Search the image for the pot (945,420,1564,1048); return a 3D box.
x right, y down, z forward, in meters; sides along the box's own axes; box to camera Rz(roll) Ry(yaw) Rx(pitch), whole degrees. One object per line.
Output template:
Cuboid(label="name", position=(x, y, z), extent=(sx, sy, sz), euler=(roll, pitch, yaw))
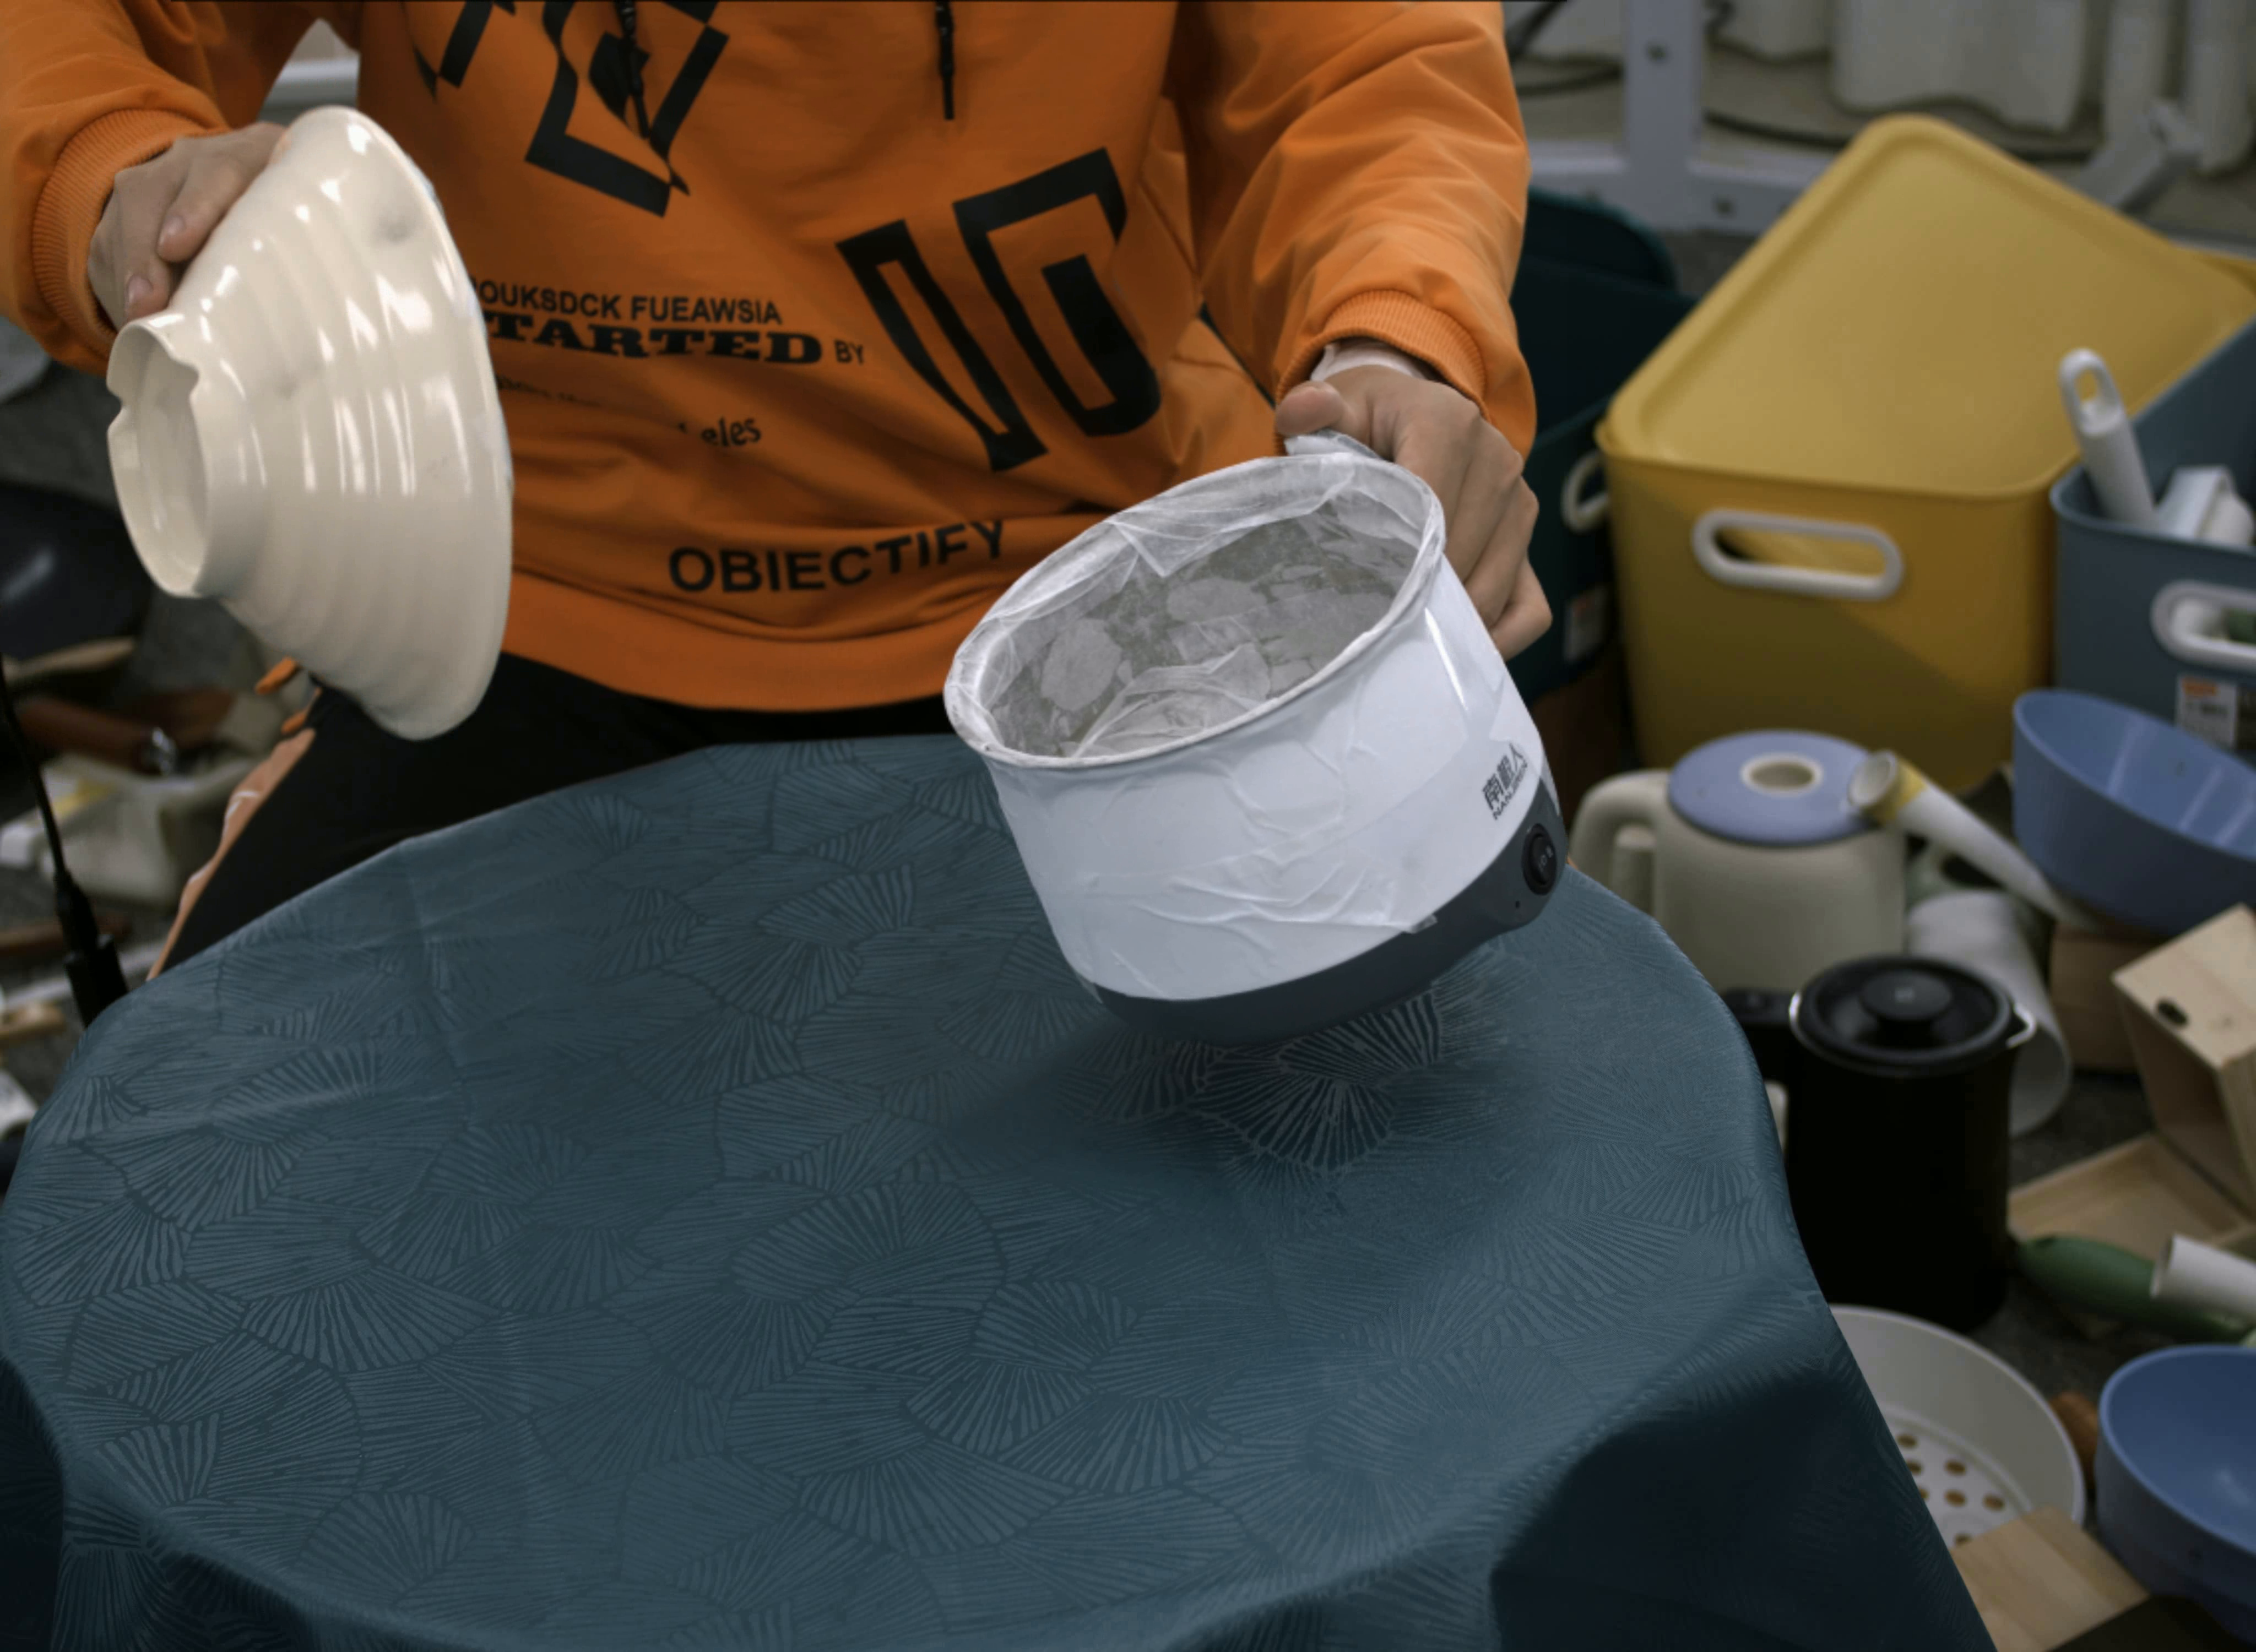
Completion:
Cuboid(label="pot", position=(0.054, -0.040, 1.898), extent=(0.177, 0.135, 0.238), euler=(-6, 33, 30))

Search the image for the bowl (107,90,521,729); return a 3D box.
Cuboid(label="bowl", position=(-0.269, -0.124, 1.771), extent=(0.078, 0.202, 0.205), euler=(-12, 28, -30))
